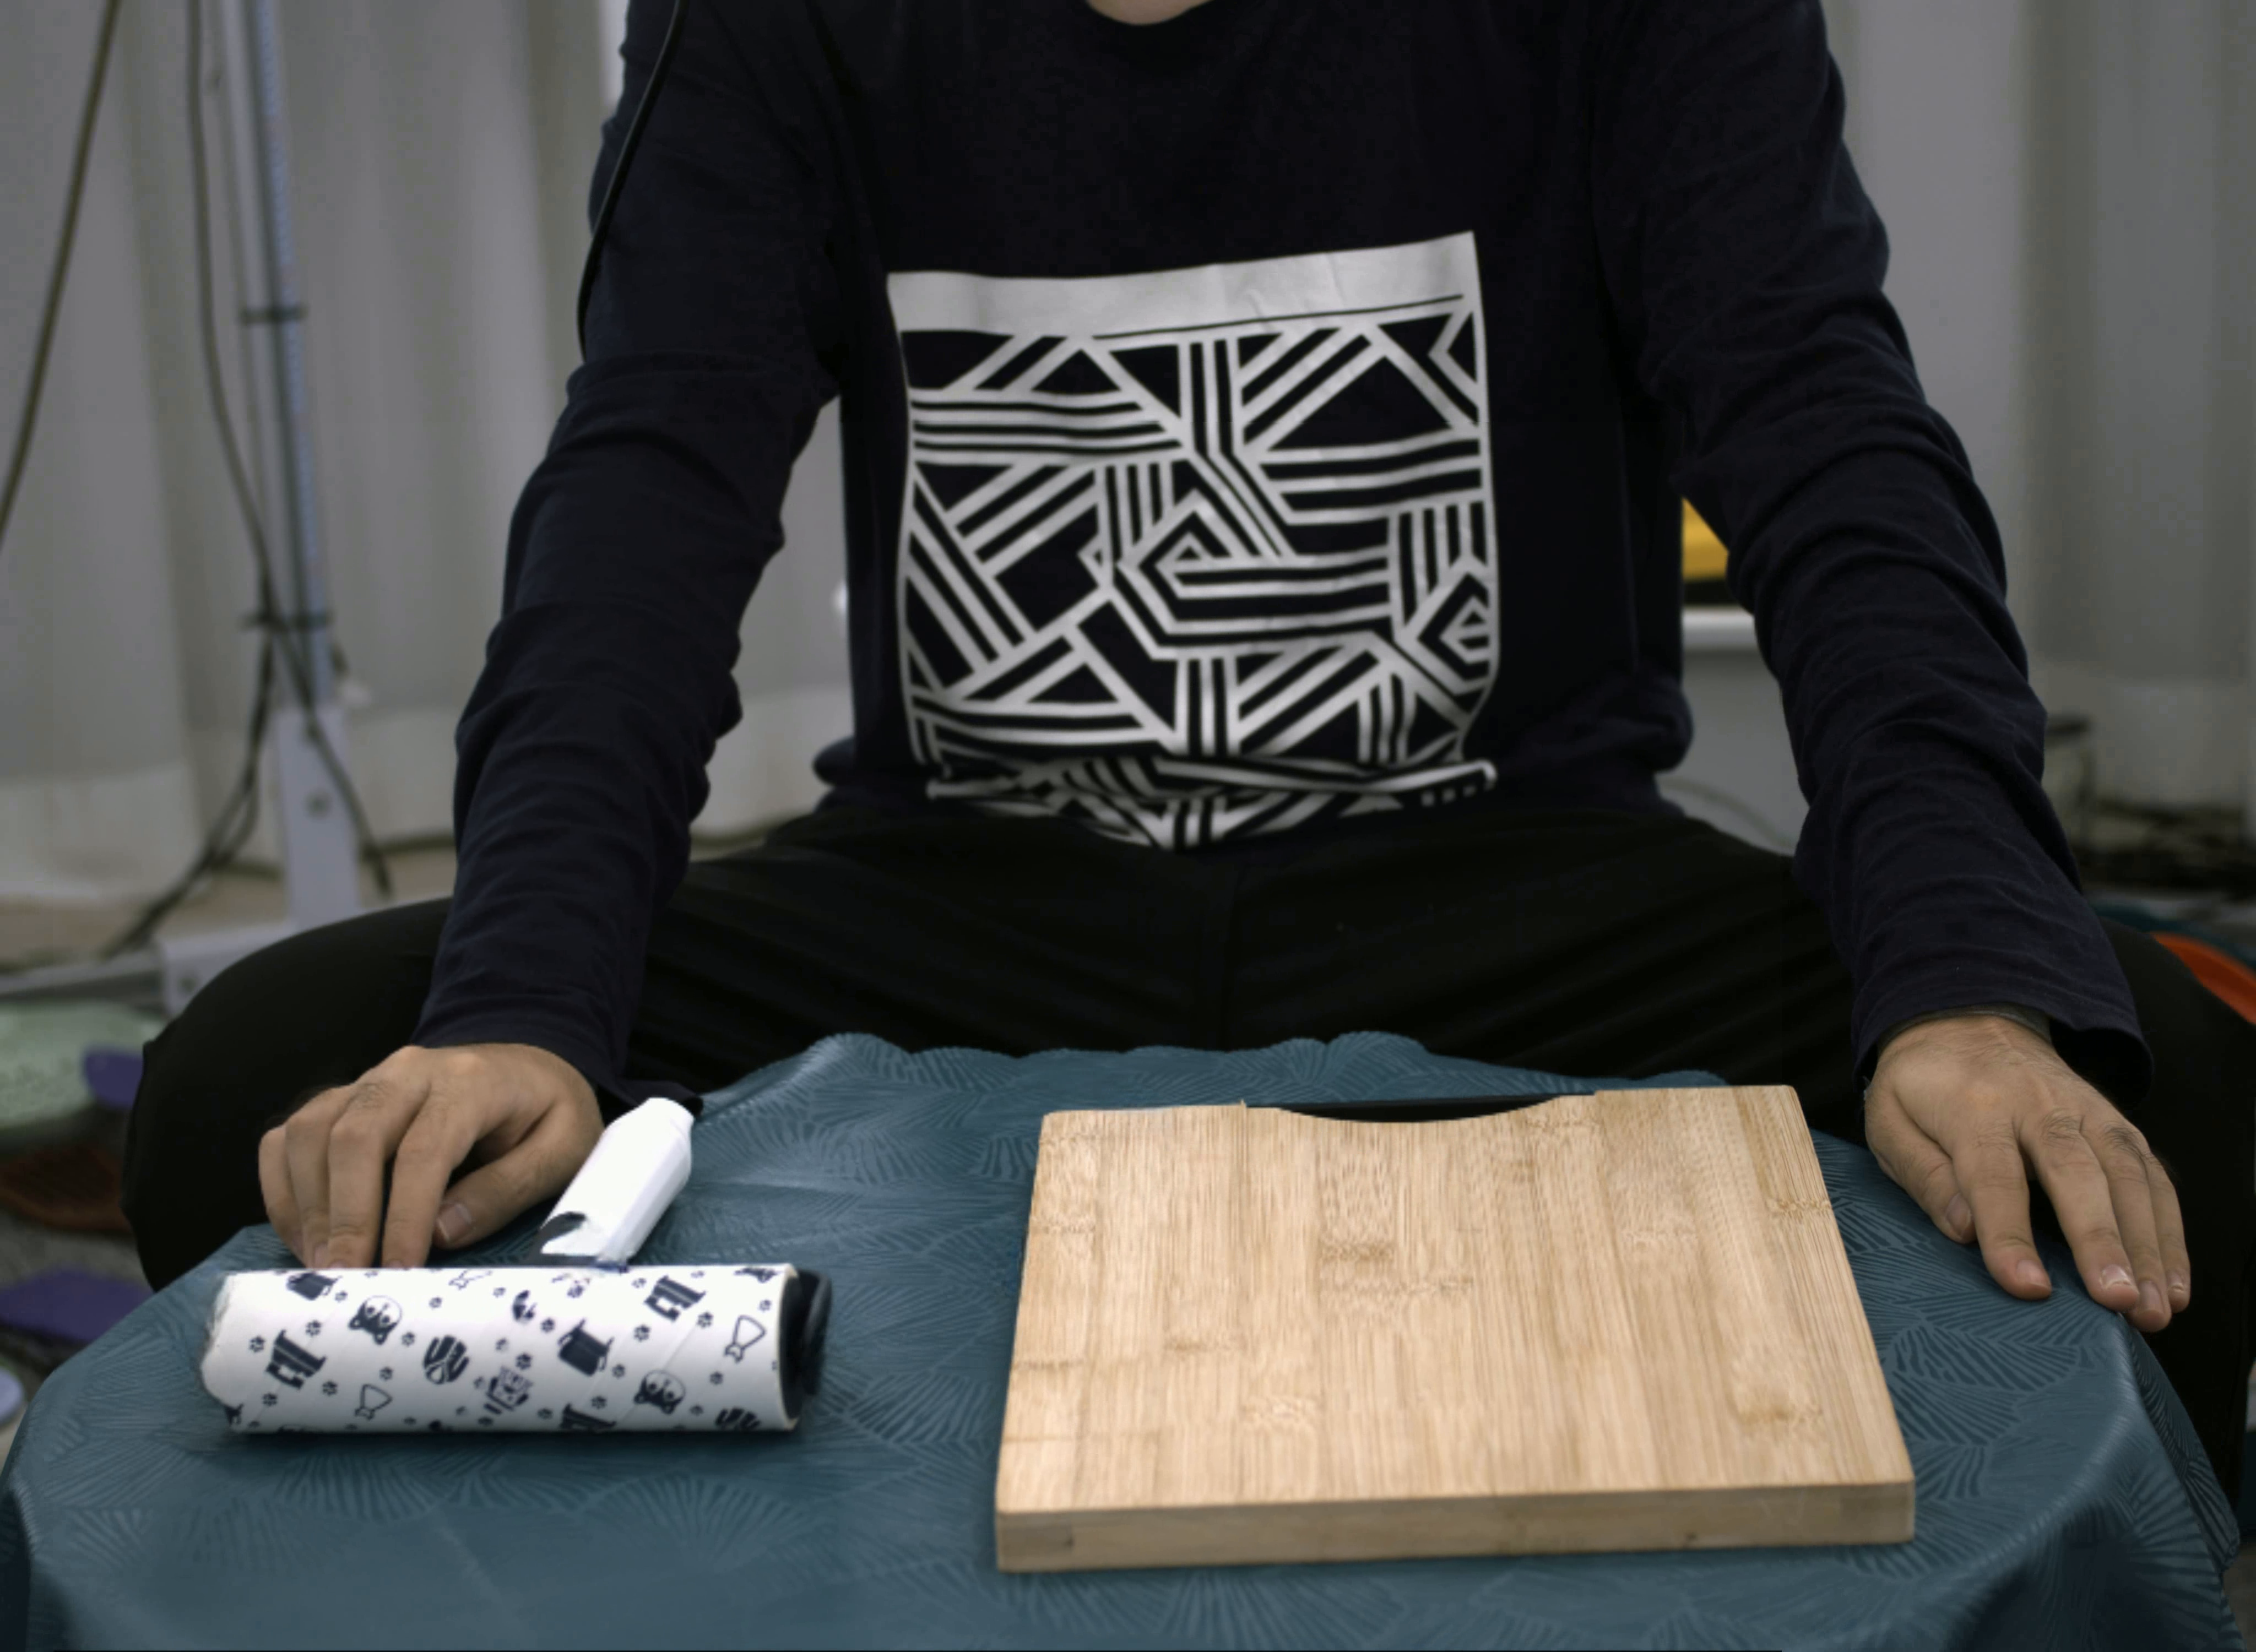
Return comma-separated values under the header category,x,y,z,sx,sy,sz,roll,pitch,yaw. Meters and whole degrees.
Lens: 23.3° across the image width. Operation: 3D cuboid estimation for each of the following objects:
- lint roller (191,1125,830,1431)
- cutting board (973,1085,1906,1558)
category,x,y,z,sx,sy,sz,roll,pitch,yaw
lint roller,-0.164,0.124,1.634,0.176,0.050,0.248,-2,12,6
cutting board,0.087,0.139,1.581,0.250,0.023,0.351,-2,15,2
